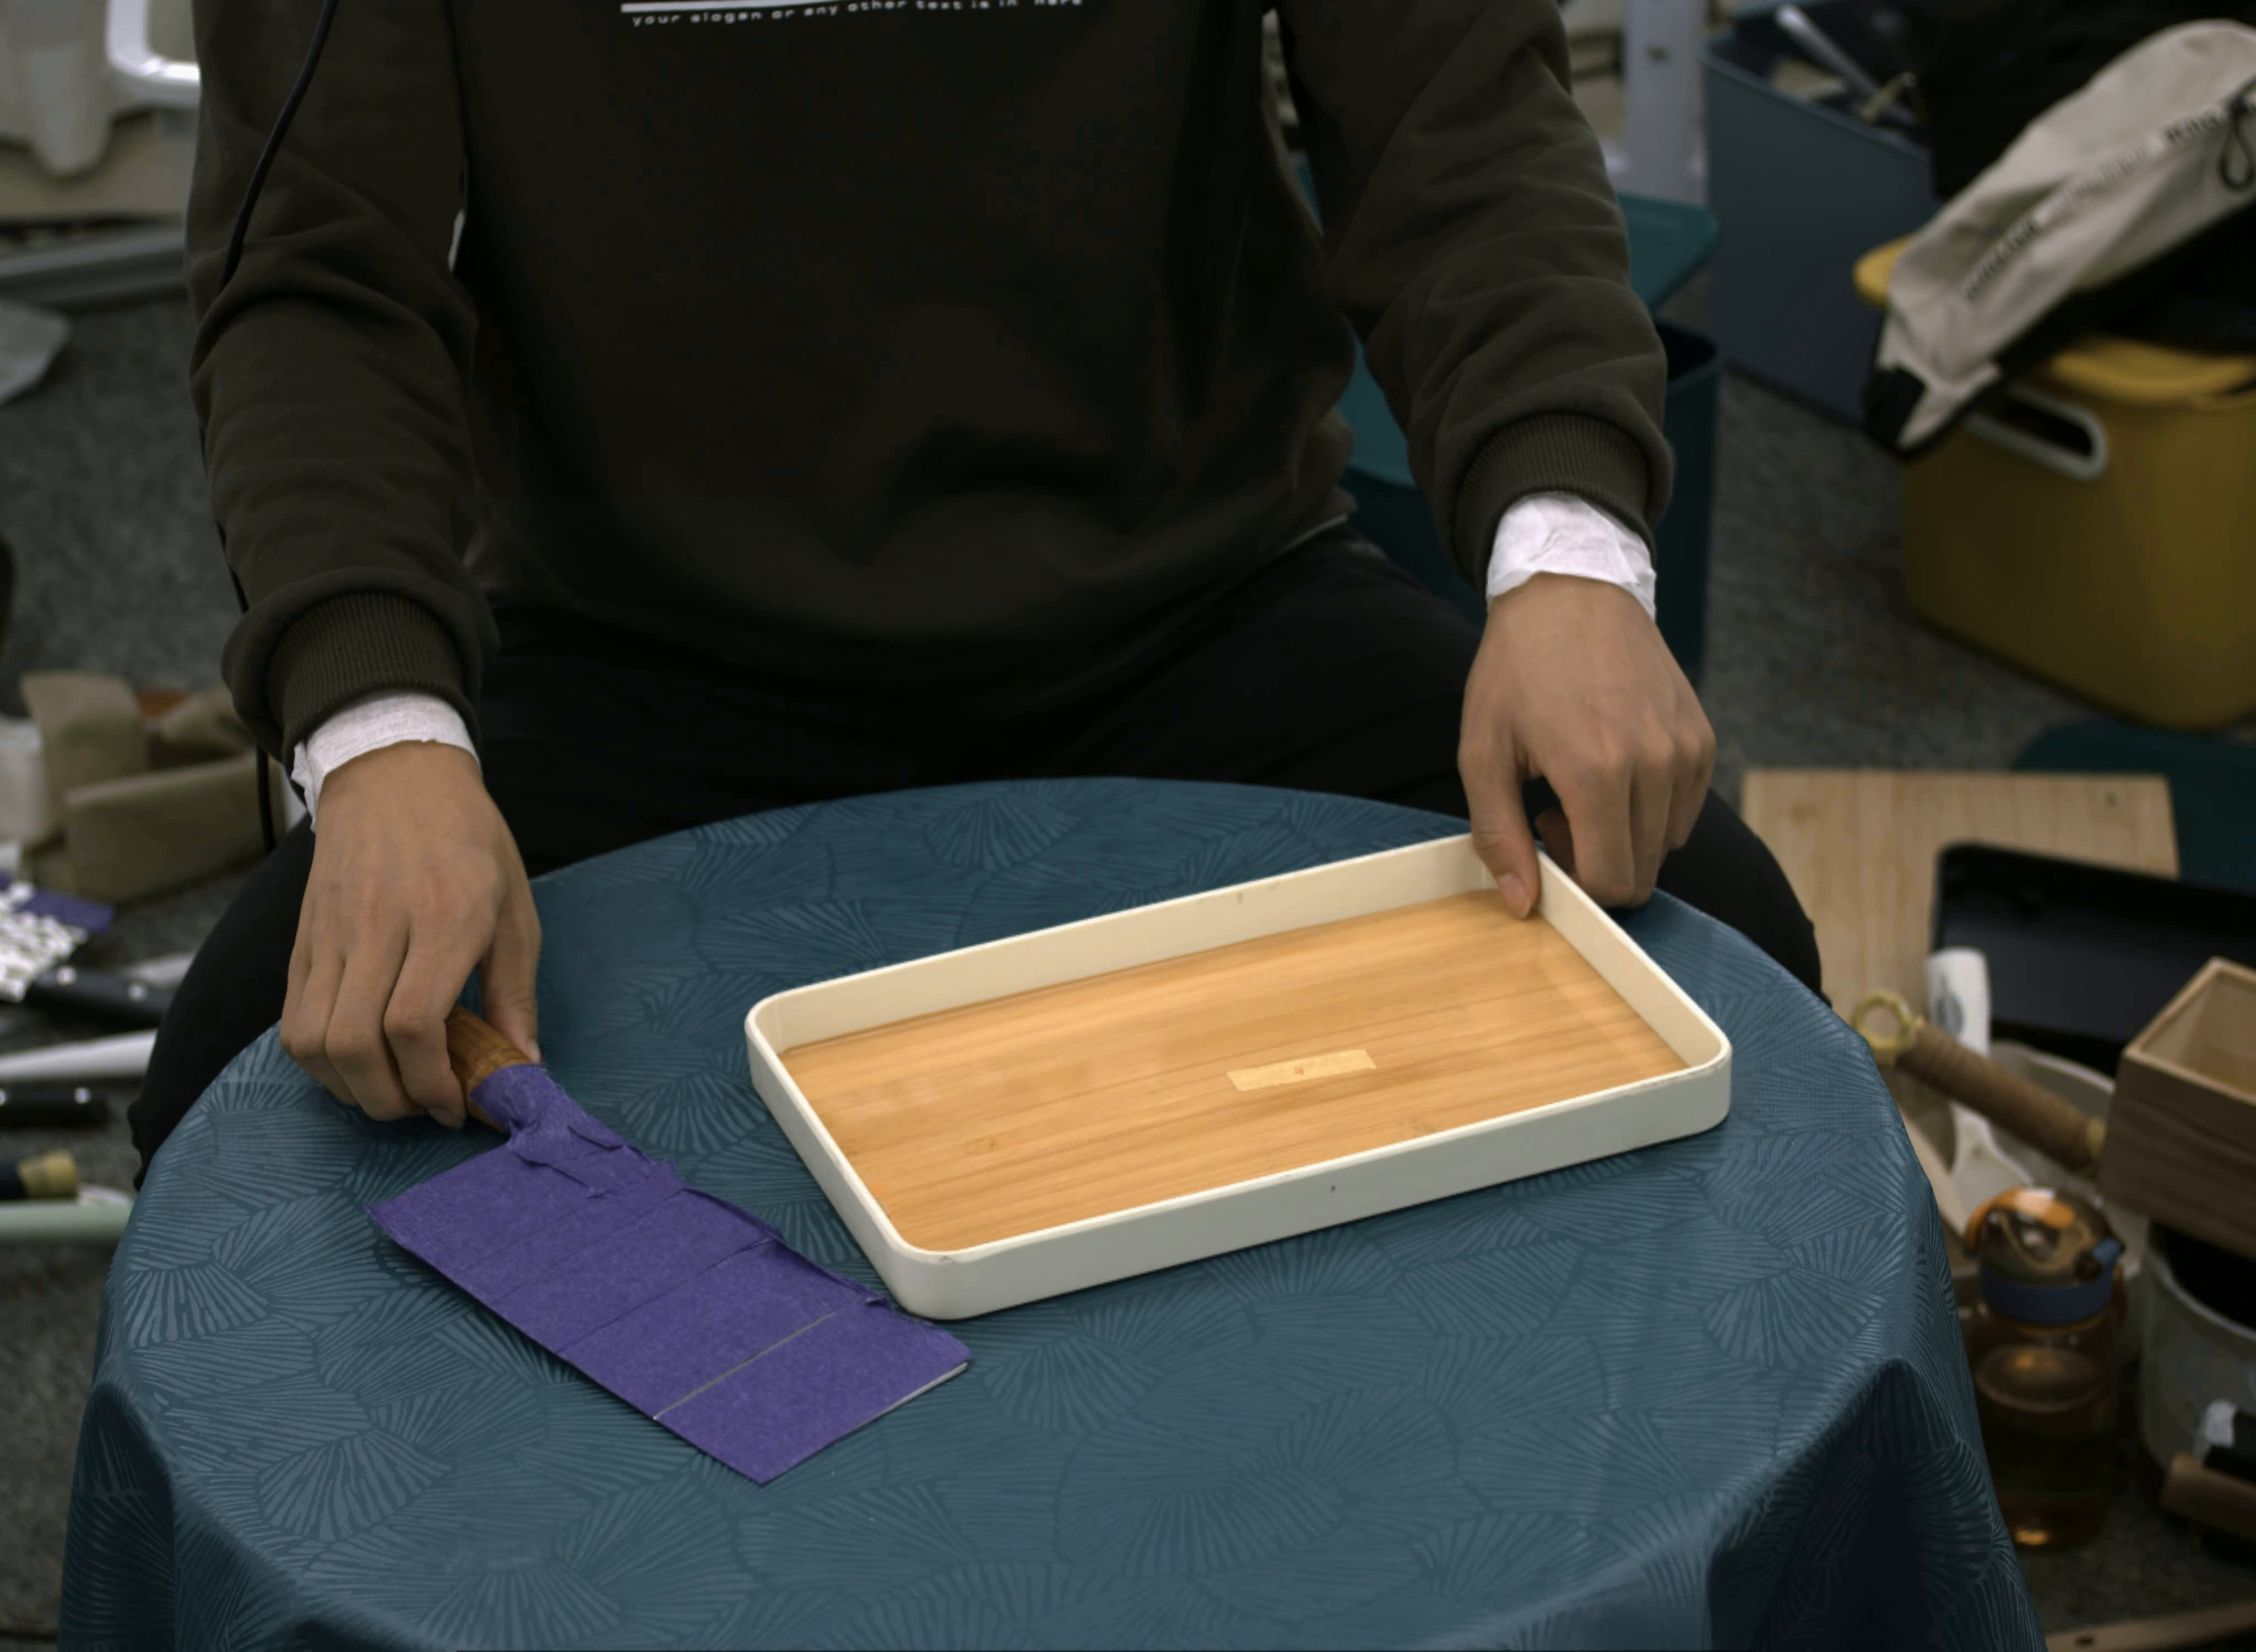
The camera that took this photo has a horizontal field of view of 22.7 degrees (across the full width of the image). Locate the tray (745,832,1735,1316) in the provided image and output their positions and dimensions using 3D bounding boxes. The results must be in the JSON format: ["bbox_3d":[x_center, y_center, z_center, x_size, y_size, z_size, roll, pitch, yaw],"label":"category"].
[{"bbox_3d":[0.036,0.080,1.909,0.301,0.027,0.193,-12,28,-18],"label":"tray"}]

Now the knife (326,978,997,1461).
[{"bbox_3d":[-0.183,0.126,1.840,0.105,0.032,0.315,-24,35,-37],"label":"knife"}]
